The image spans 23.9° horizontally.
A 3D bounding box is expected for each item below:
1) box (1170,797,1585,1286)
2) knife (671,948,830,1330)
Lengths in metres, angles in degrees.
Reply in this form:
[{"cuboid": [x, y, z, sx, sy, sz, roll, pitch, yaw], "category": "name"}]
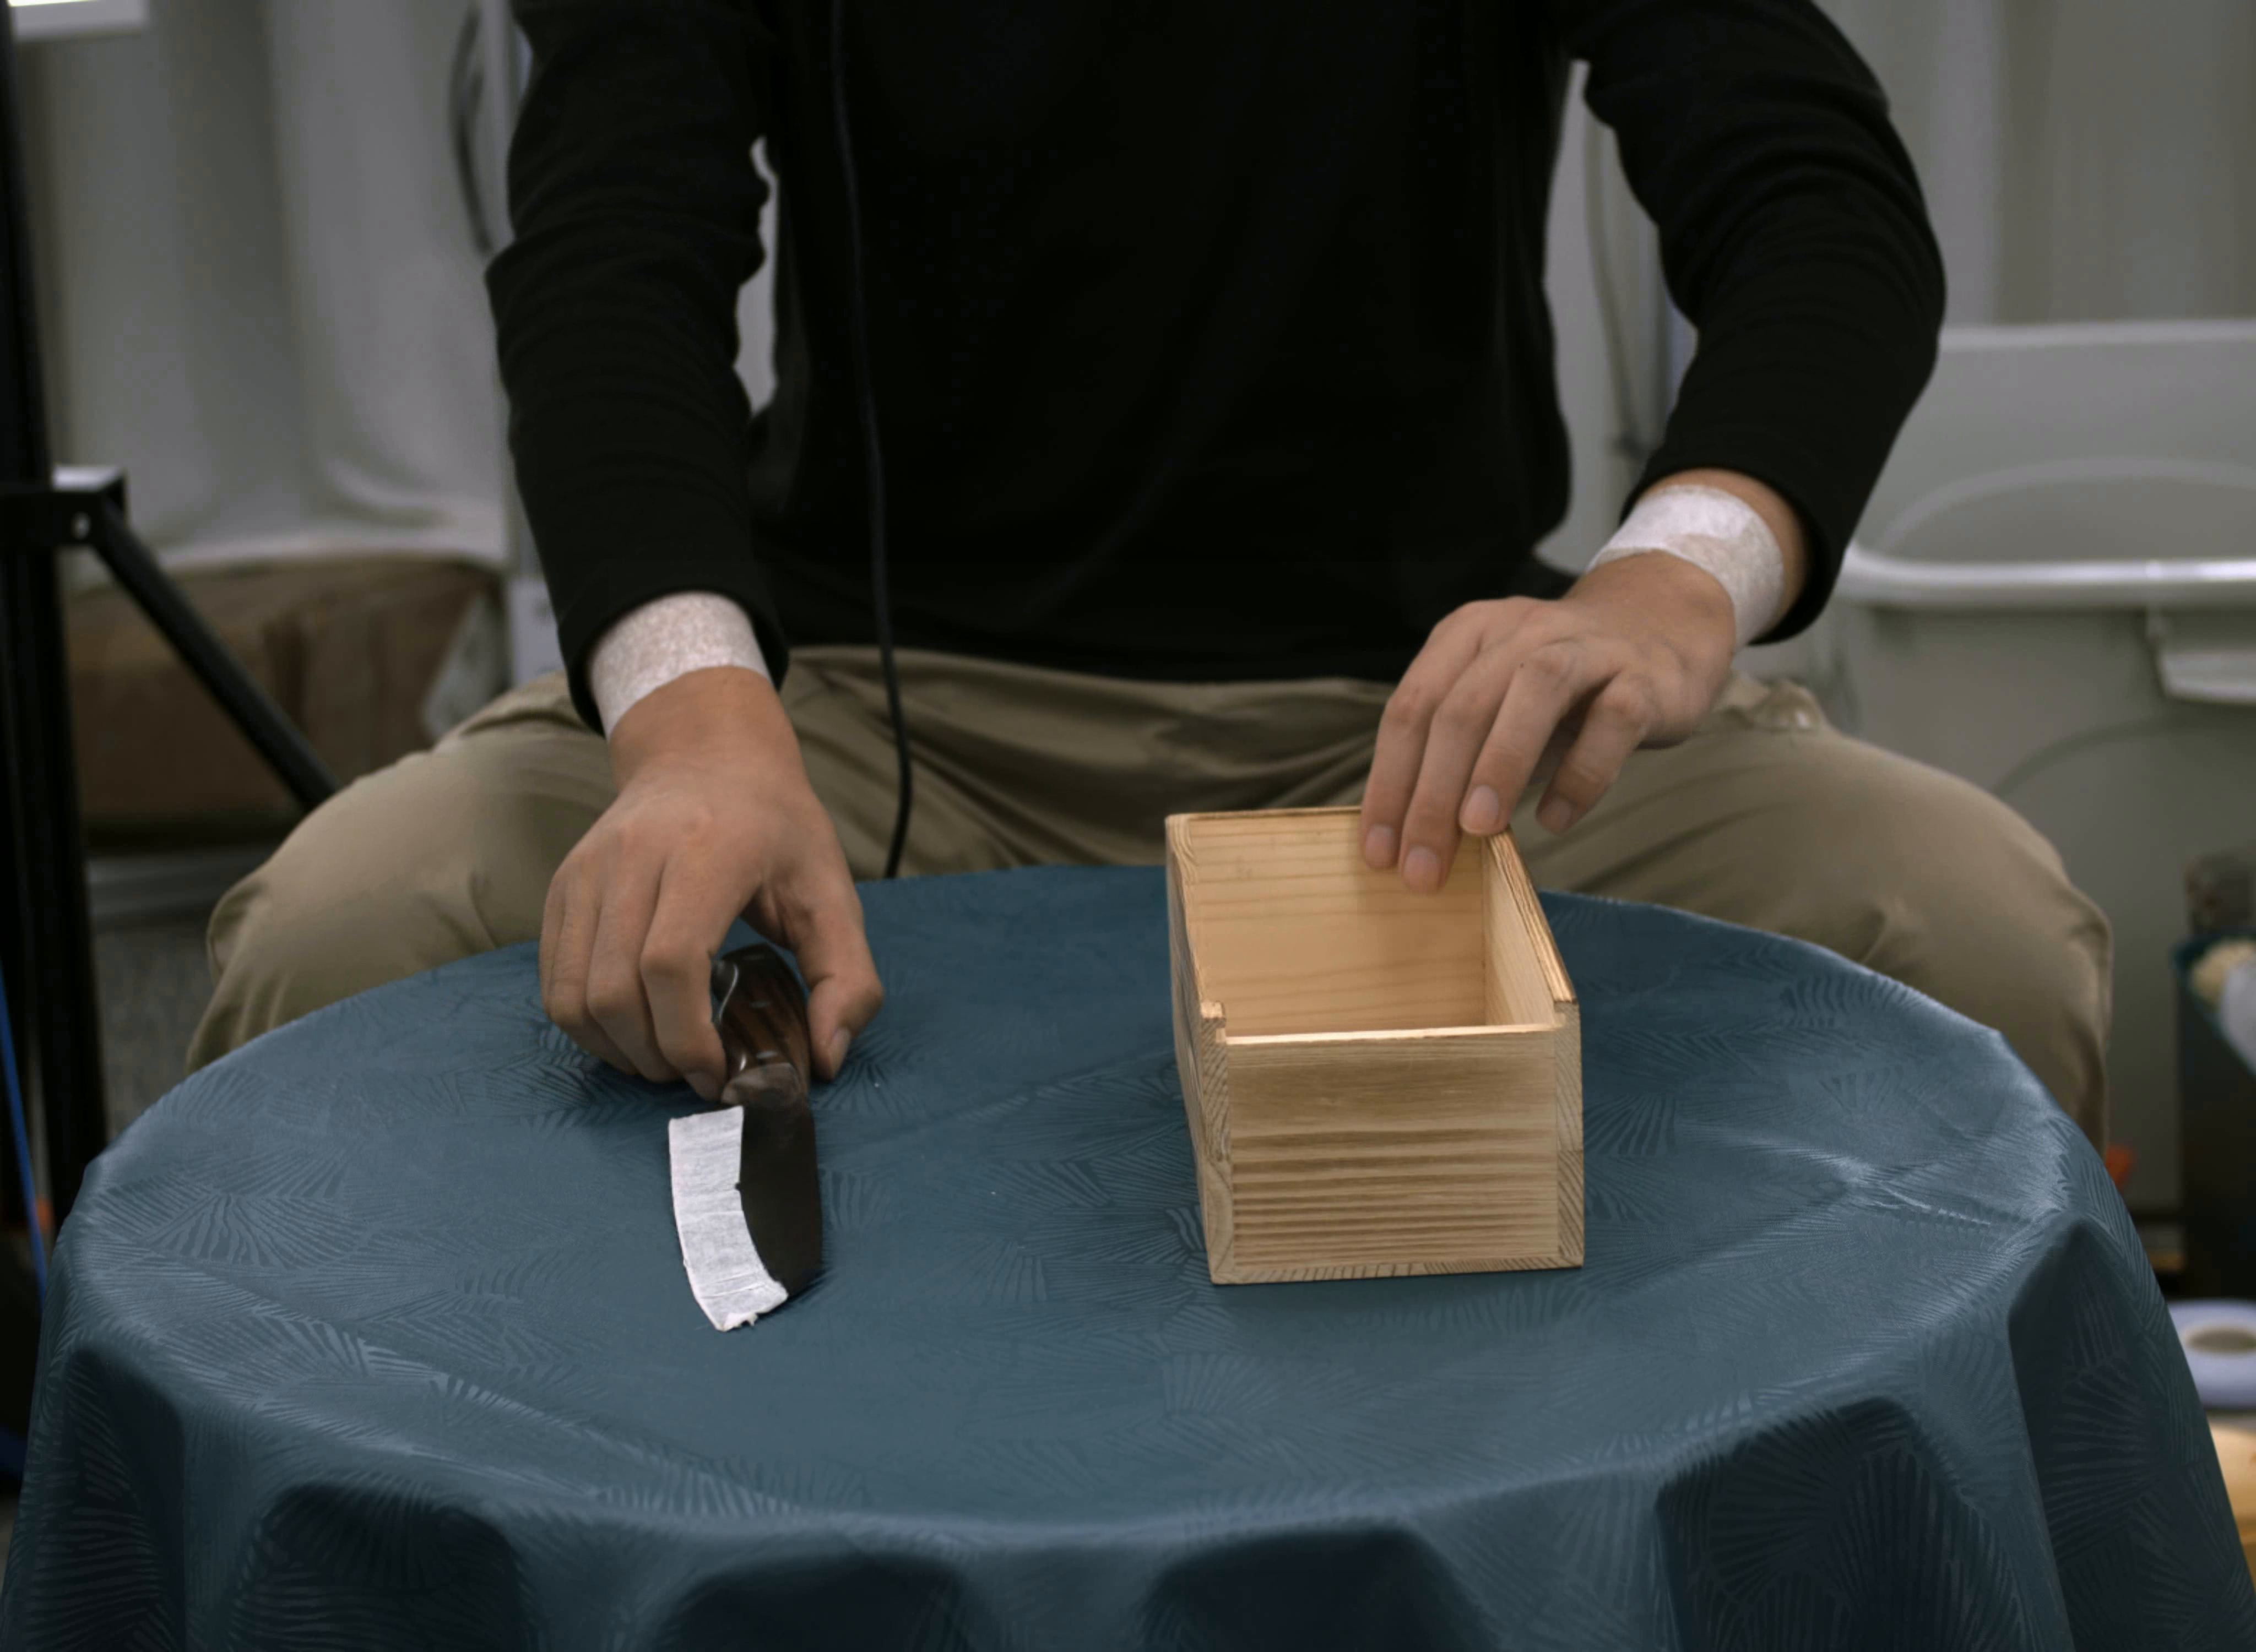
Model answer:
[{"cuboid": [0.070, 0.060, 1.569, 0.107, 0.080, 0.212, -2, 16, -1], "category": "box"}, {"cuboid": [-0.113, 0.093, 1.602, 0.050, 0.020, 0.291, -10, 18, 1], "category": "knife"}]
